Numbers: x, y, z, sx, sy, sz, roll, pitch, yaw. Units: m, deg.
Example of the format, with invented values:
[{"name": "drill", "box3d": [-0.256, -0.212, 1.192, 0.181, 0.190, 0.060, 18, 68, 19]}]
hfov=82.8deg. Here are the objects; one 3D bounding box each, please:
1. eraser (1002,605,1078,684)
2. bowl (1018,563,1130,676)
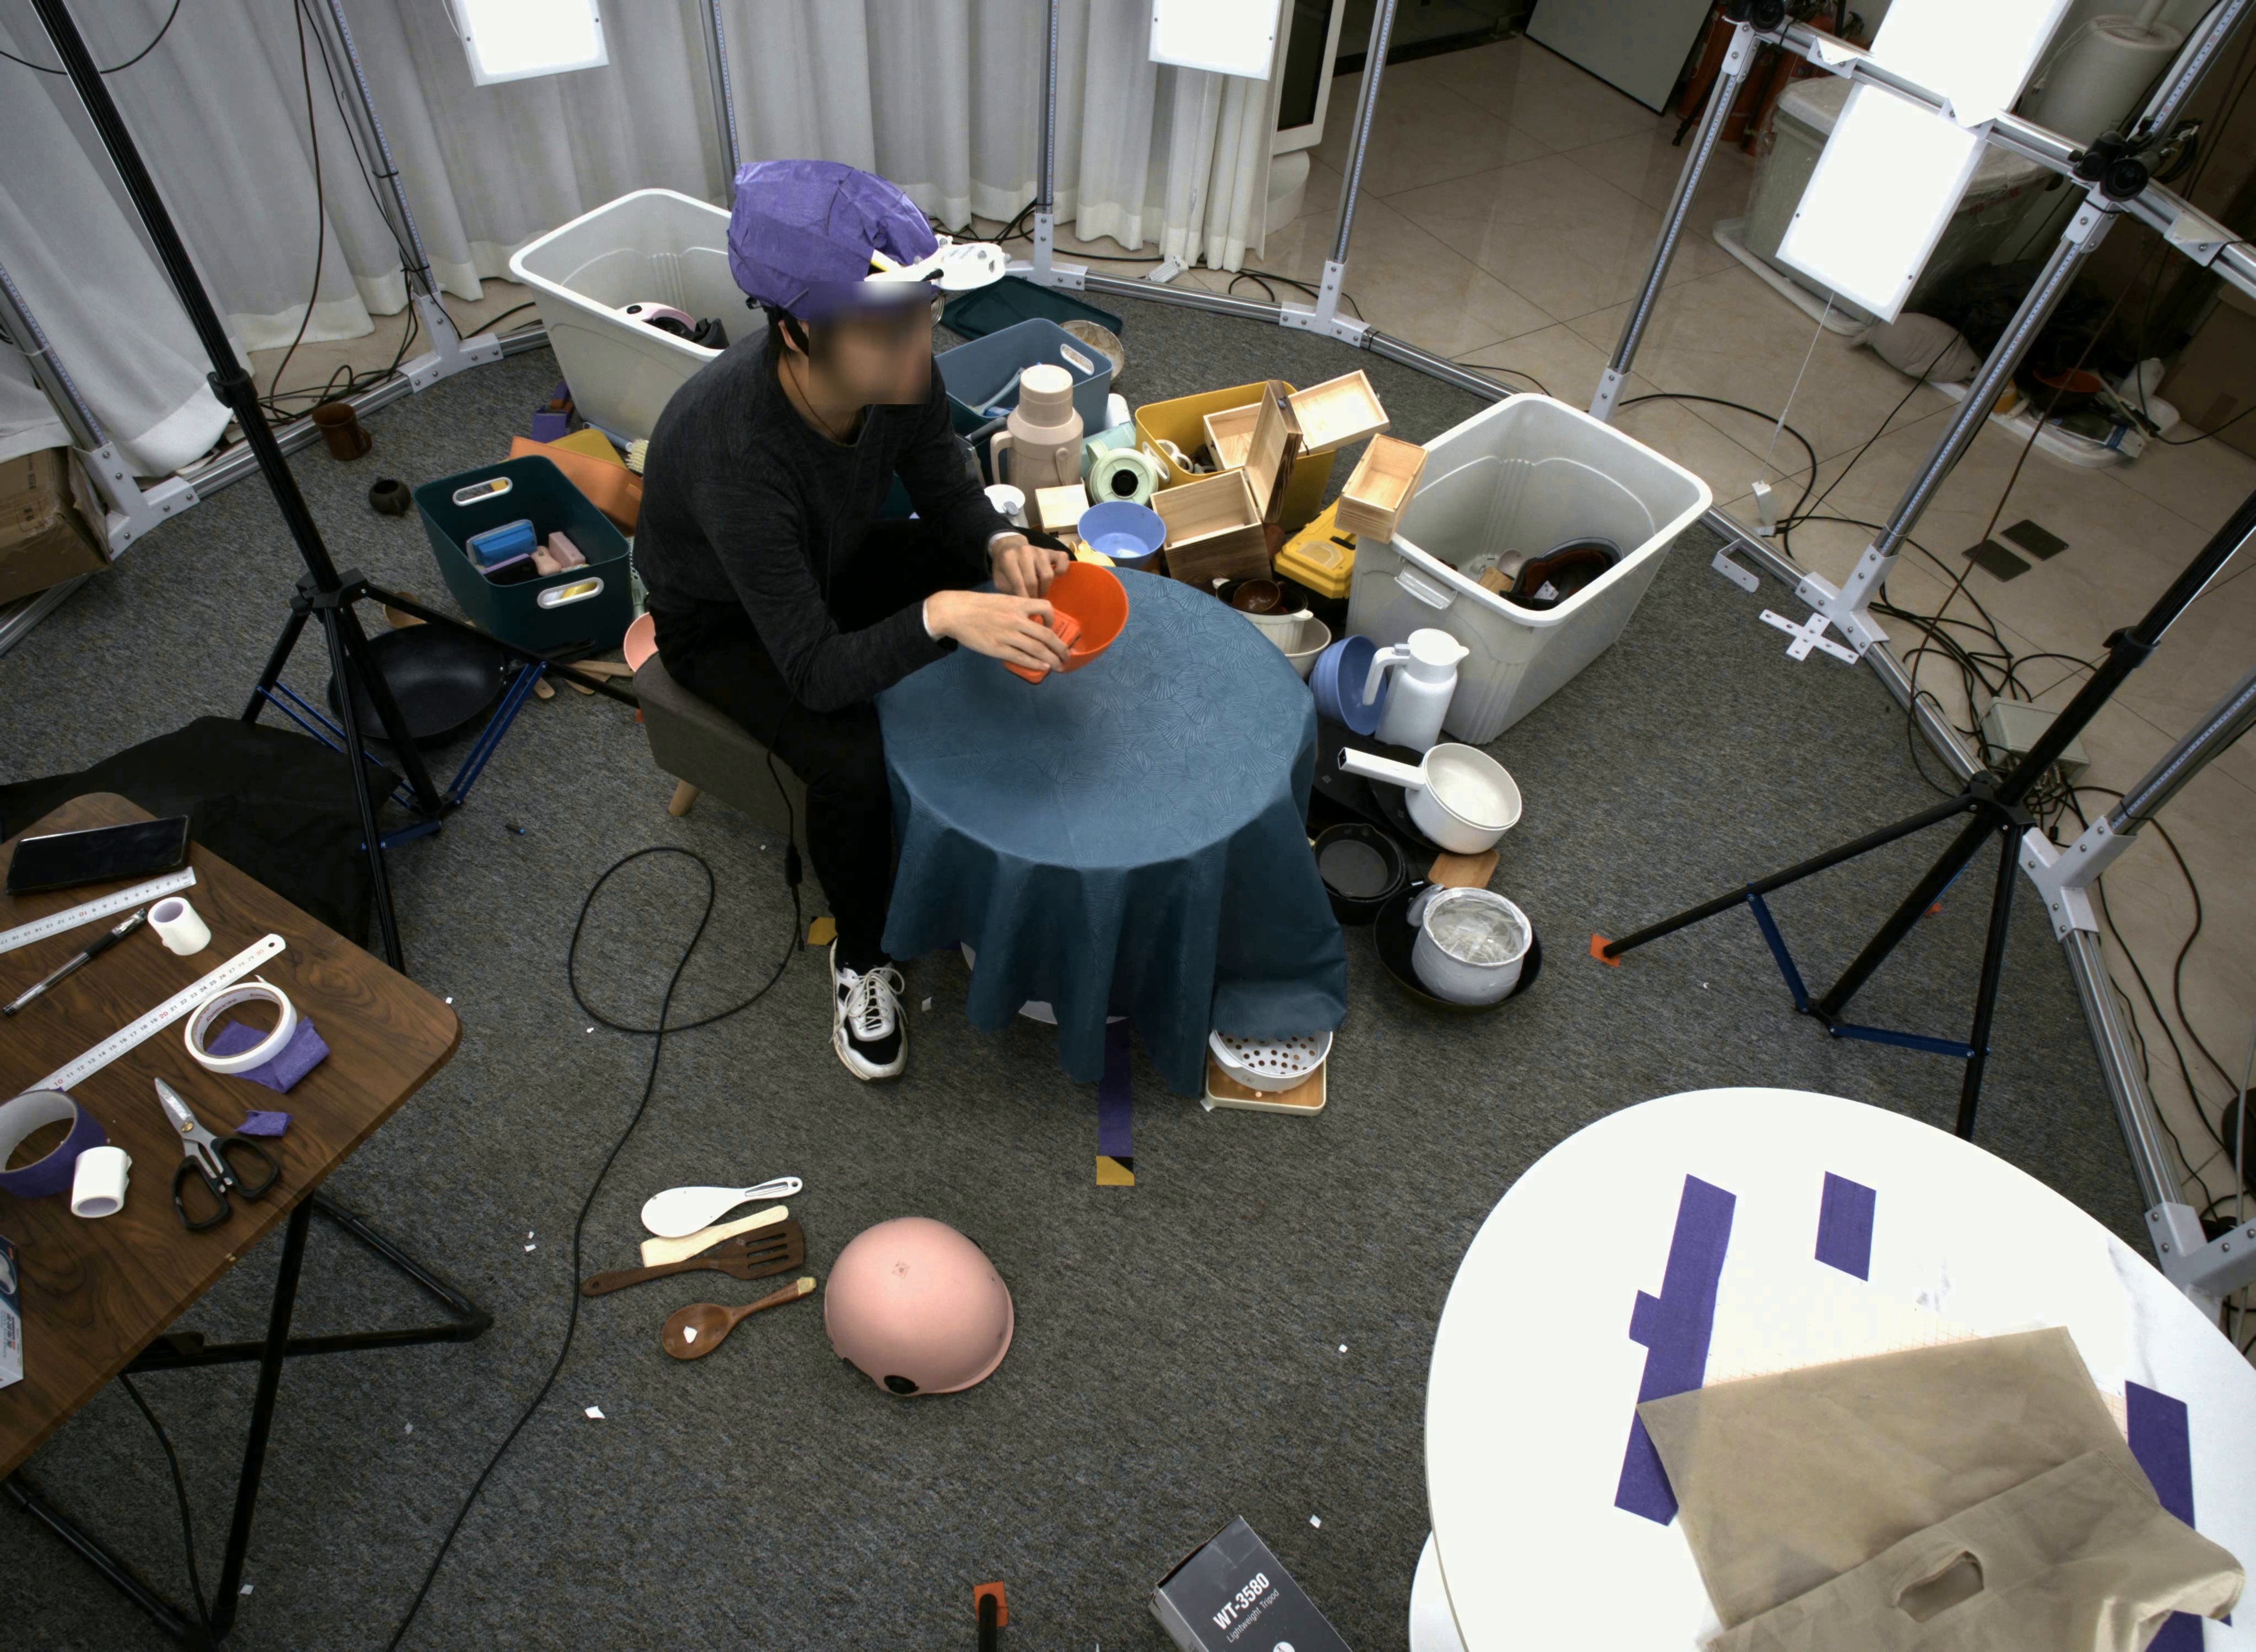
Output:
[{"name": "eraser", "box3d": [-0.113, -0.236, 1.663, 0.059, 0.022, 0.109, 28, 60, 13]}, {"name": "bowl", "box3d": [-0.075, -0.267, 1.738, 0.148, 0.102, 0.151, 3, 58, -5]}]
